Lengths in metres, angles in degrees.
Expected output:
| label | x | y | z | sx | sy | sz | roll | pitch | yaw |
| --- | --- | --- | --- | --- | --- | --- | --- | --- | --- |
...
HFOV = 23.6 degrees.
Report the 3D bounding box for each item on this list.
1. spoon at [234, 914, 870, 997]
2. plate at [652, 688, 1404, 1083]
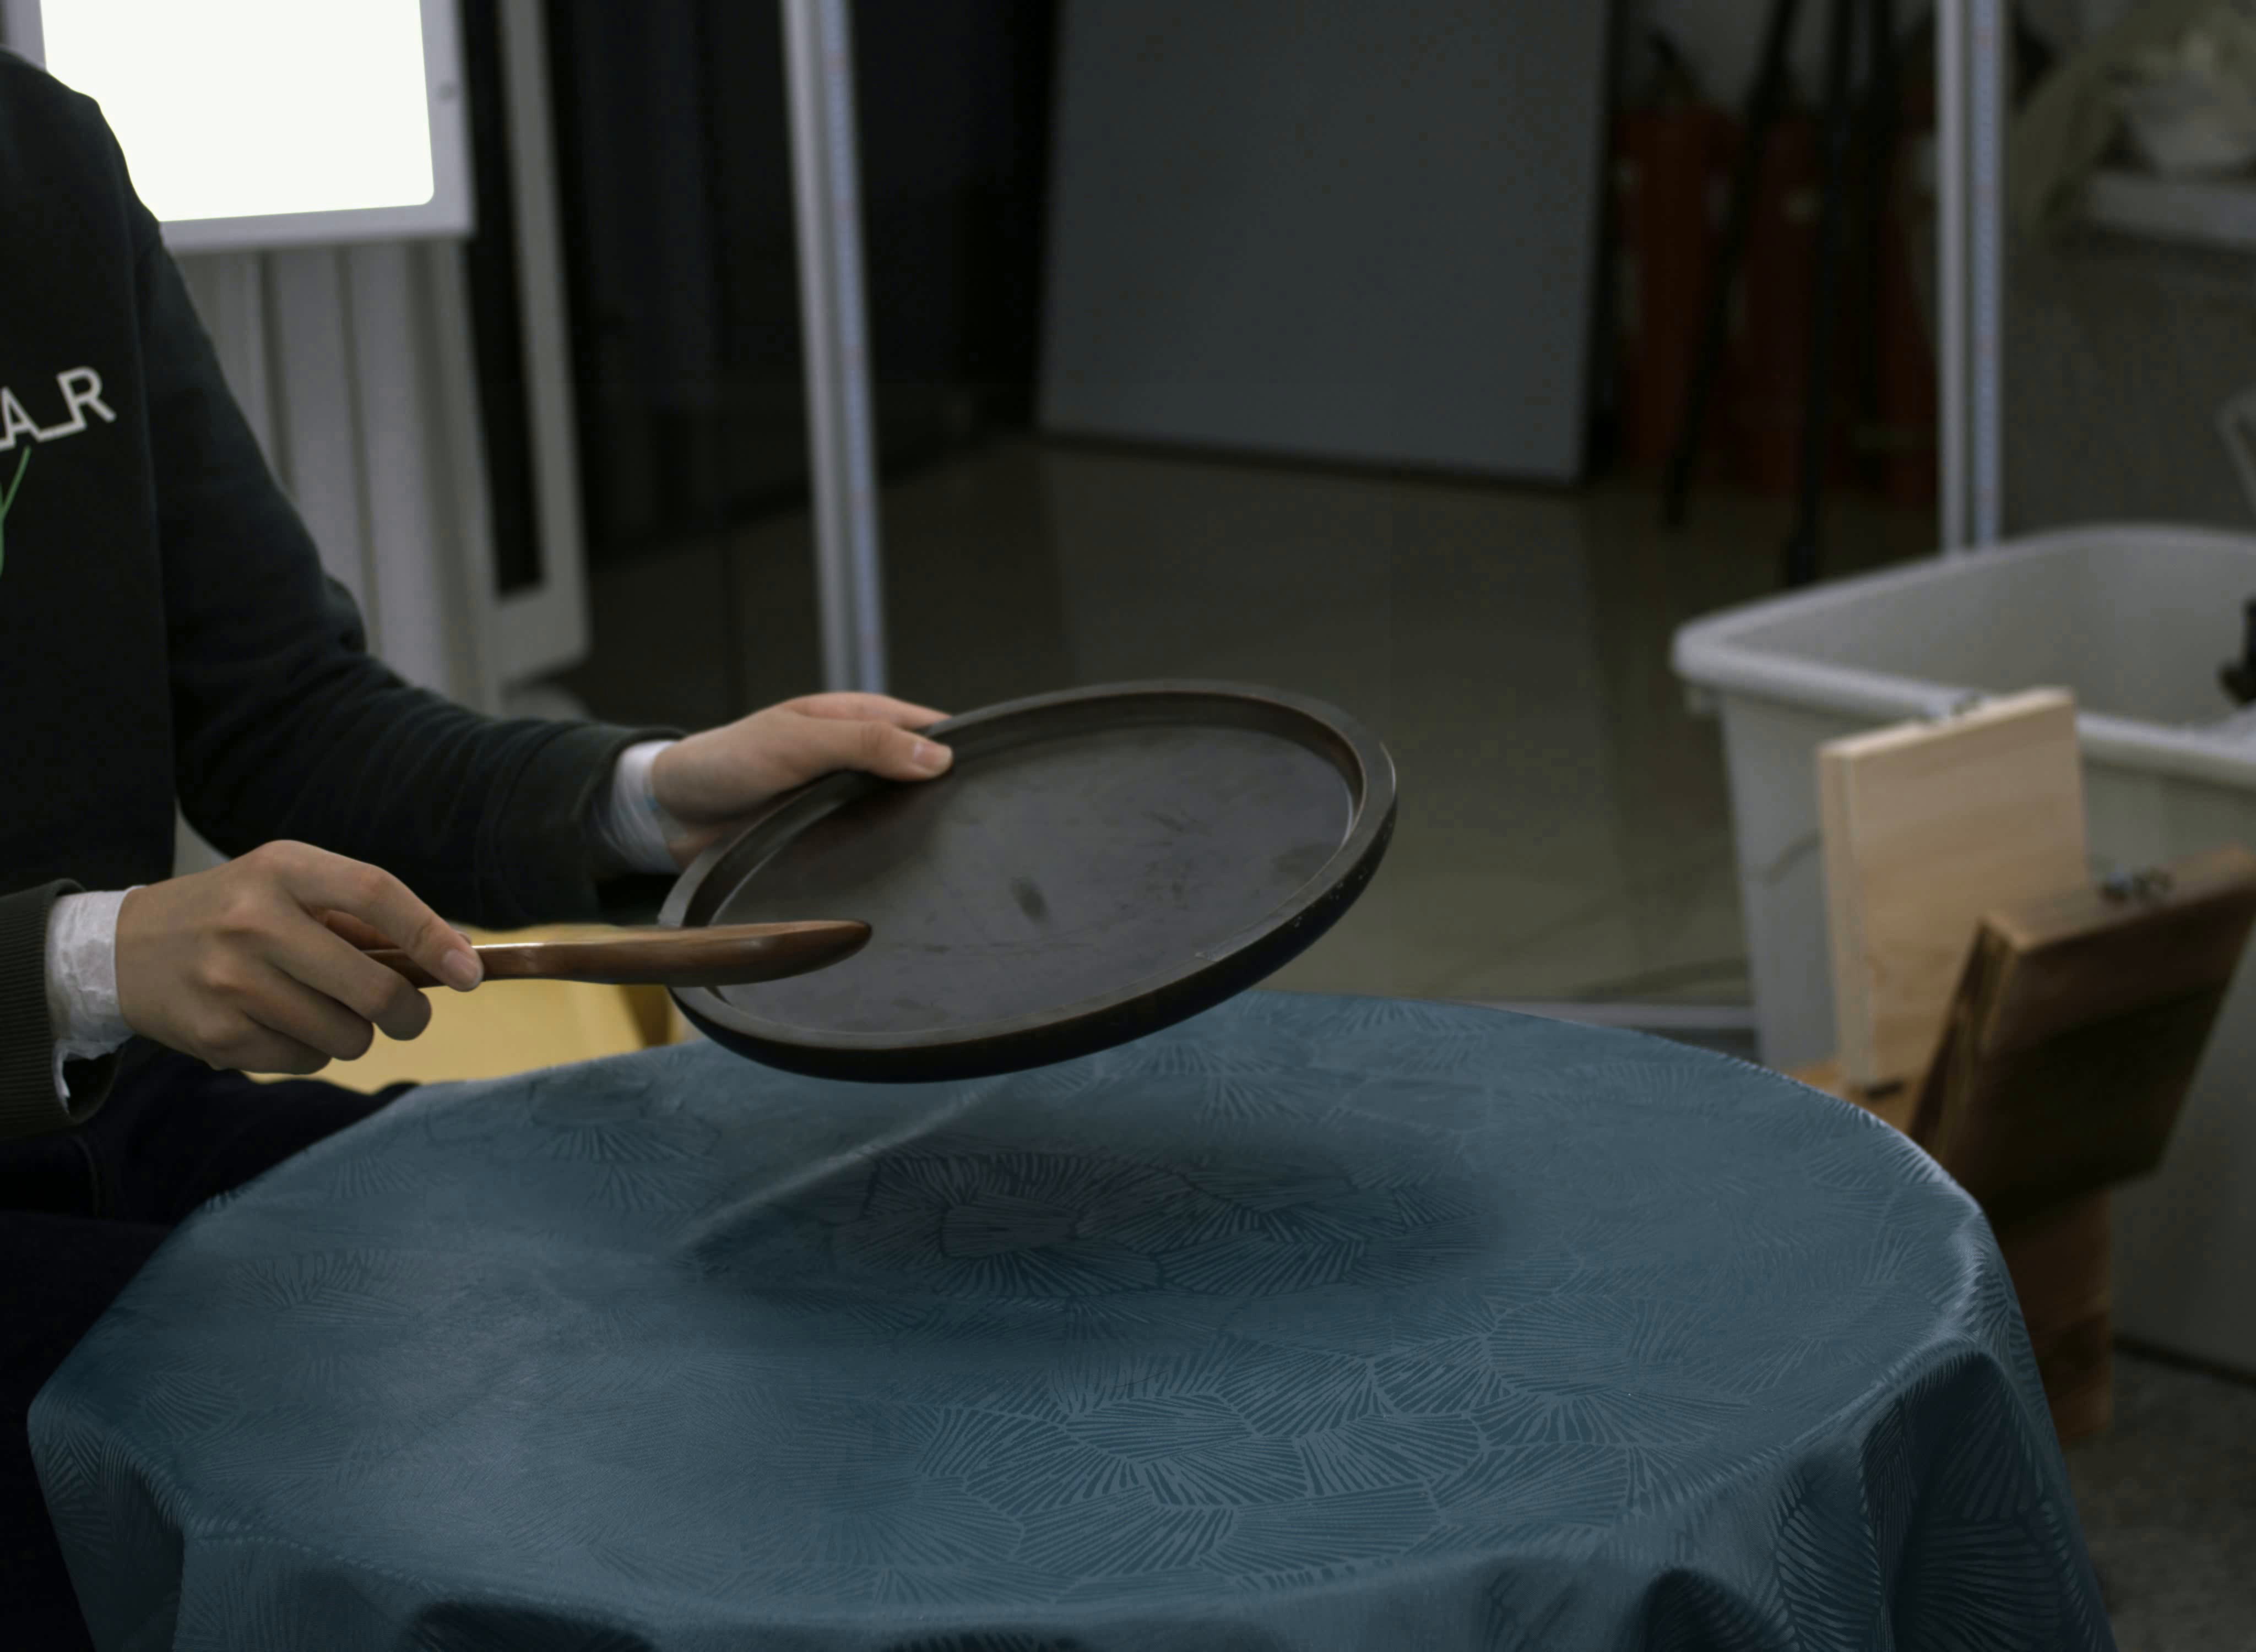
| label | x | y | z | sx | sy | sz | roll | pitch | yaw |
| --- | --- | --- | --- | --- | --- | --- | --- | --- | --- |
| spoon | -0.177 | 0.041 | 1.639 | 0.216 | 0.017 | 0.074 | -3 | 3 | 25 |
| plate | -0.031 | 0.017 | 1.773 | 0.252 | 0.029 | 0.256 | -12 | 25 | 5 |
